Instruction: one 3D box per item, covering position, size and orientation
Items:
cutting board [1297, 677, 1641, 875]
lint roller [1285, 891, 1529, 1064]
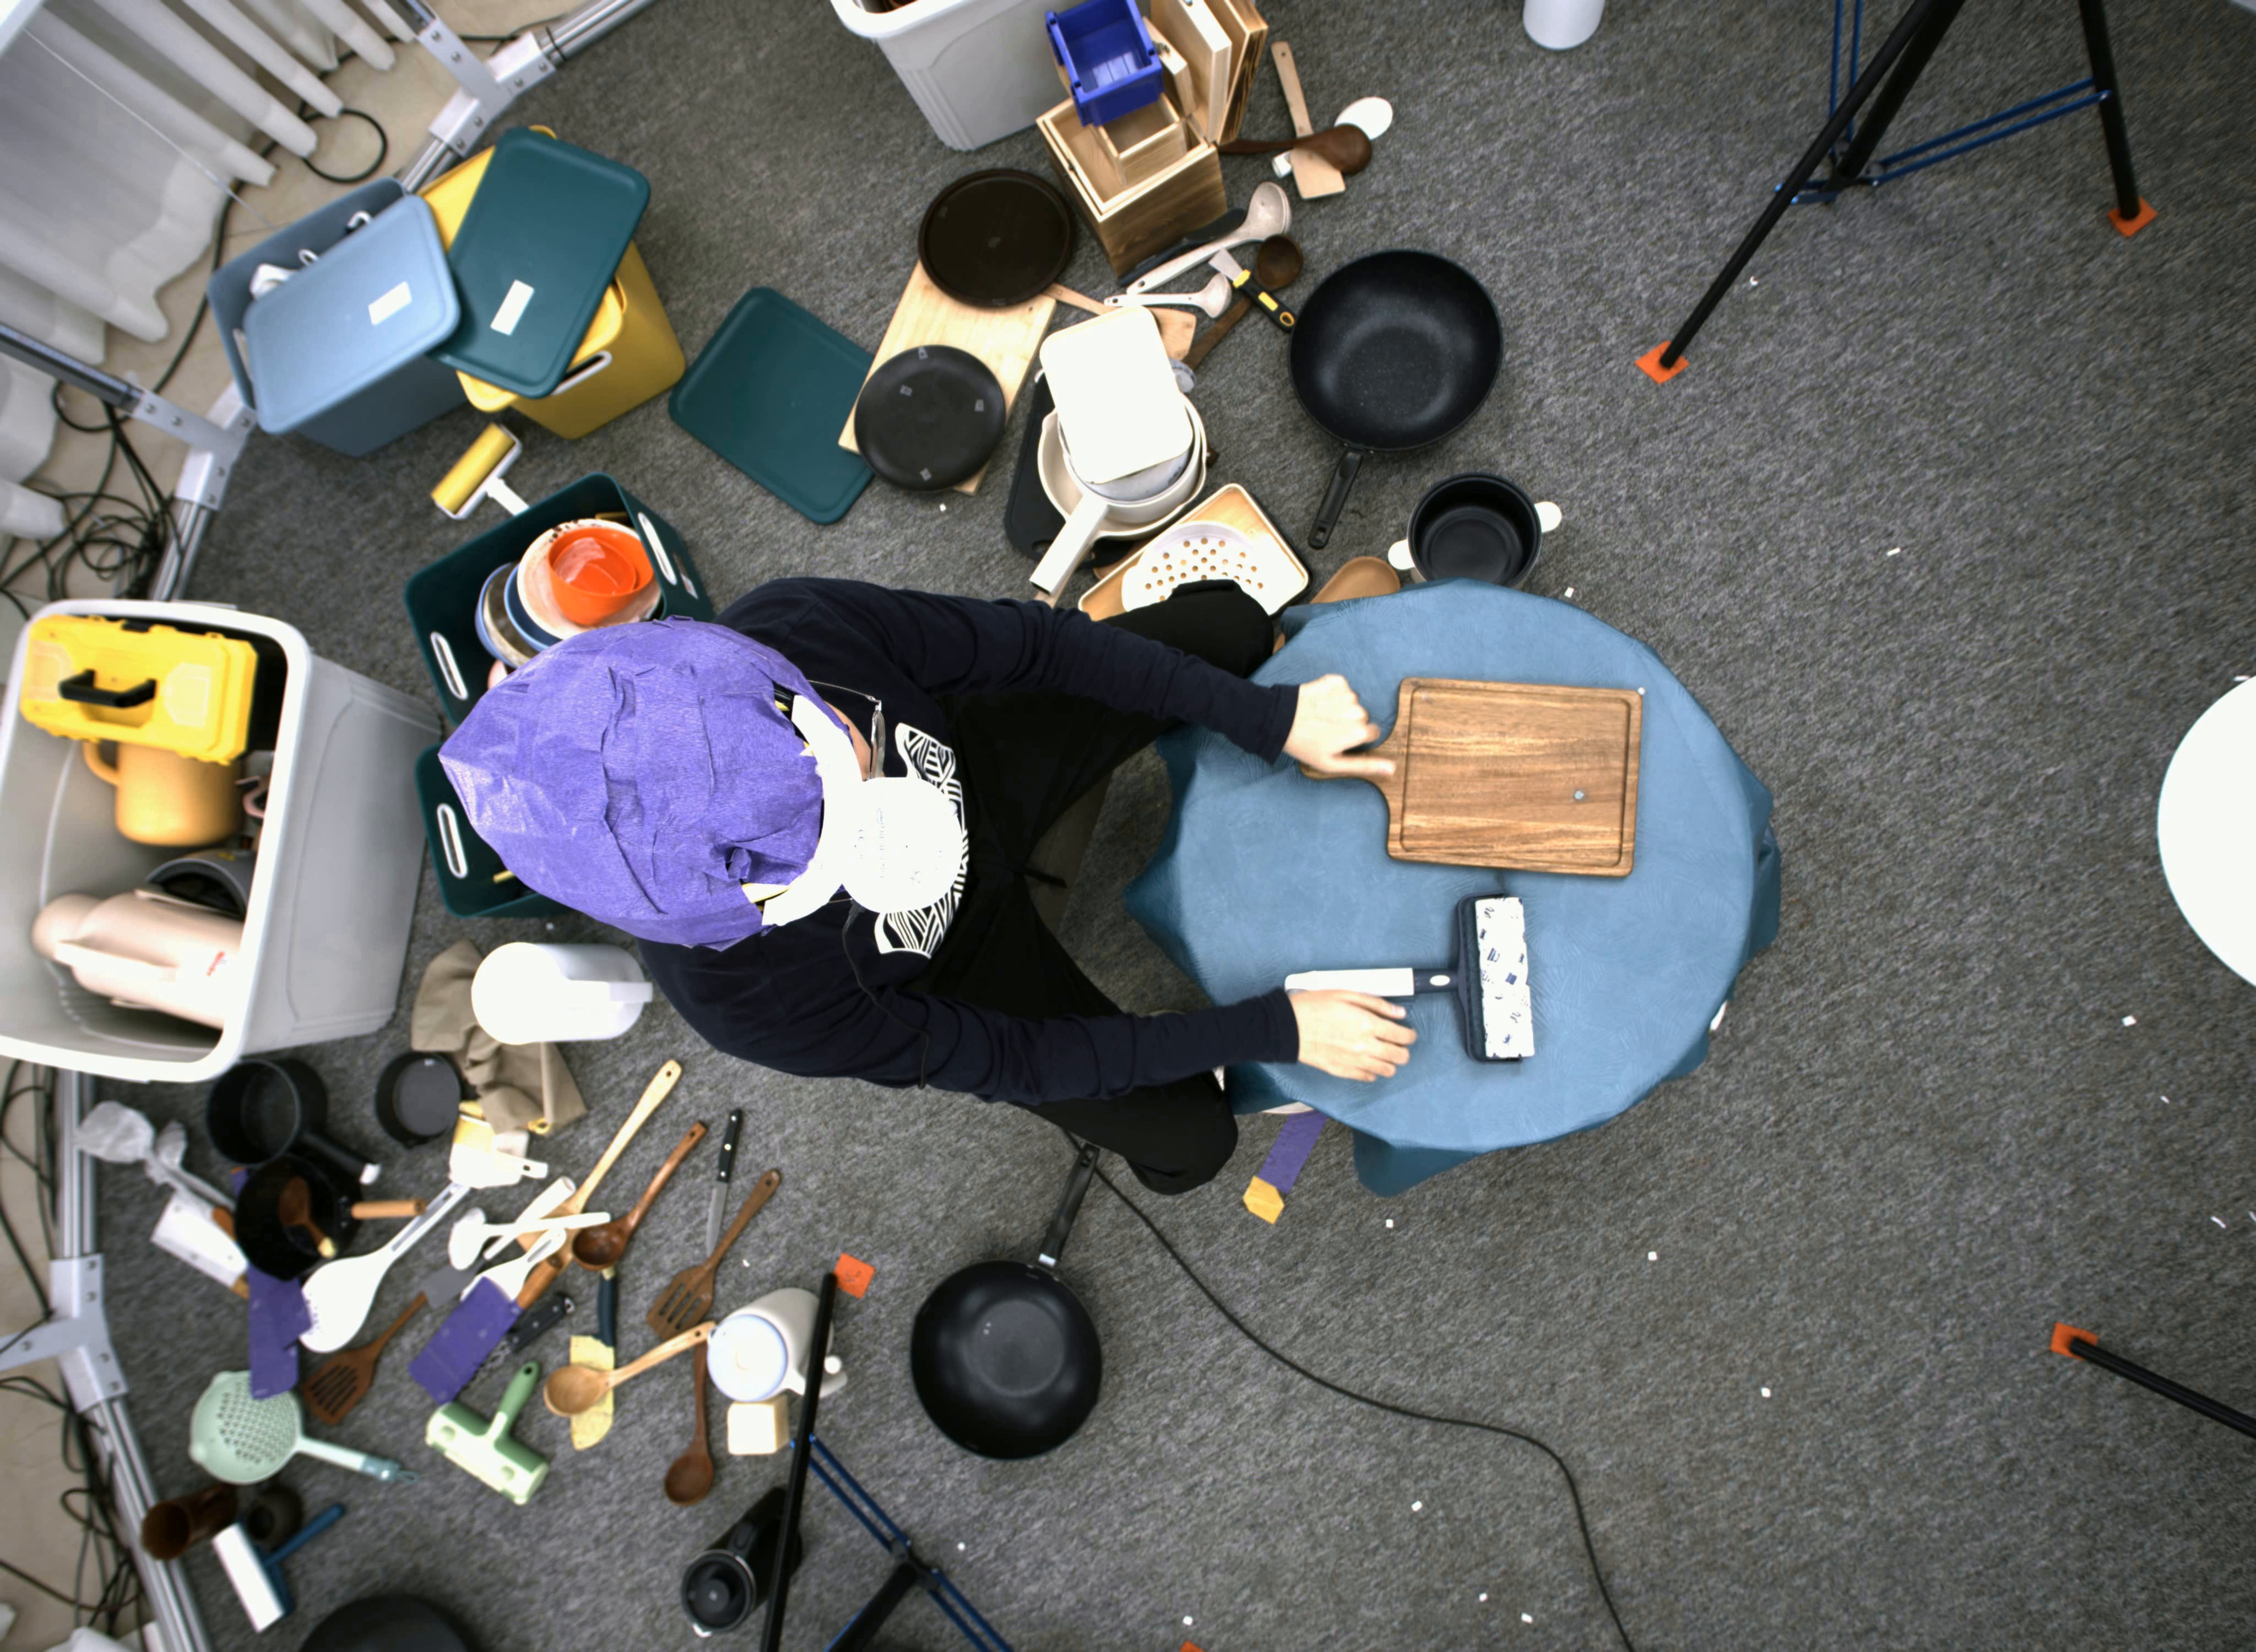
[{"bbox_3d":[0.354,-0.058,1.440,0.353,0.023,0.200,3,87,11],"label":"cutting board"},{"bbox_3d":[0.285,0.162,1.432,0.248,0.050,0.175,-5,87,13],"label":"lint roller"}]
